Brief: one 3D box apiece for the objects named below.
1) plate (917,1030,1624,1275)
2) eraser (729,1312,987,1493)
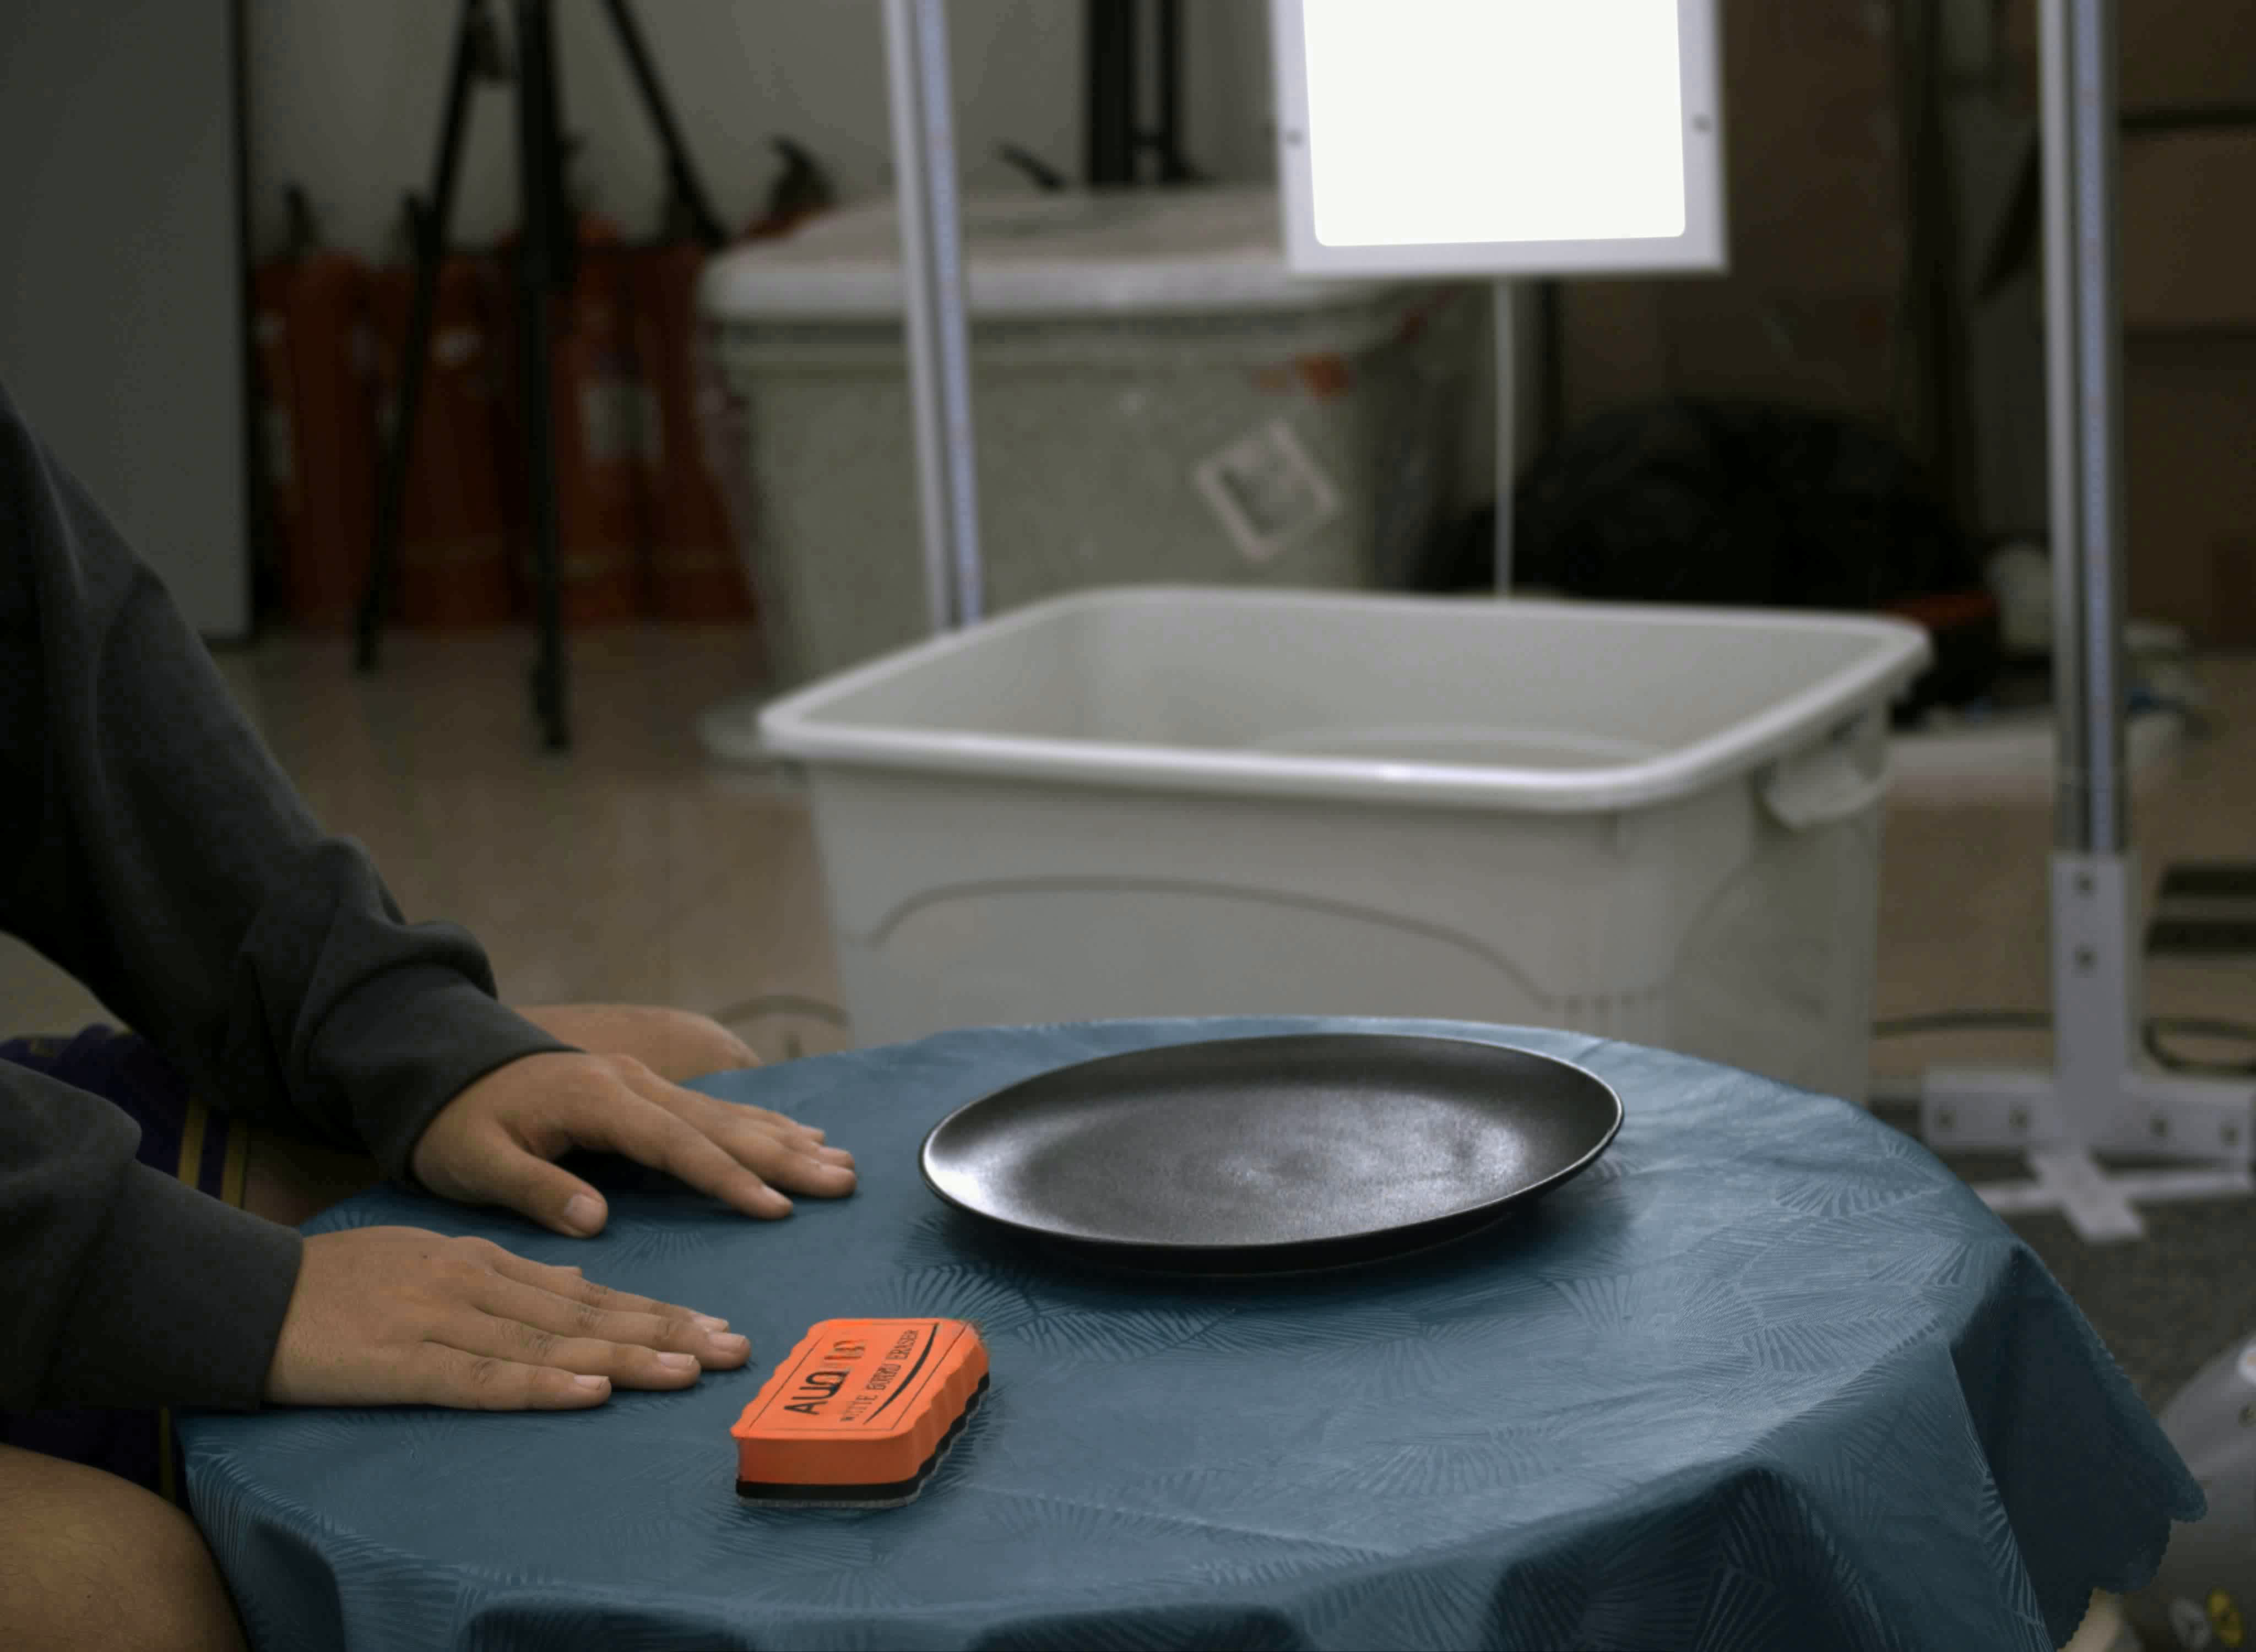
[{"bbox_3d":[0.049,0.114,1.881,0.244,0.023,0.244,-5,14,0],"label":"plate"},{"bbox_3d":[-0.080,0.174,1.671,0.059,0.023,0.106,-1,13,13],"label":"eraser"}]
